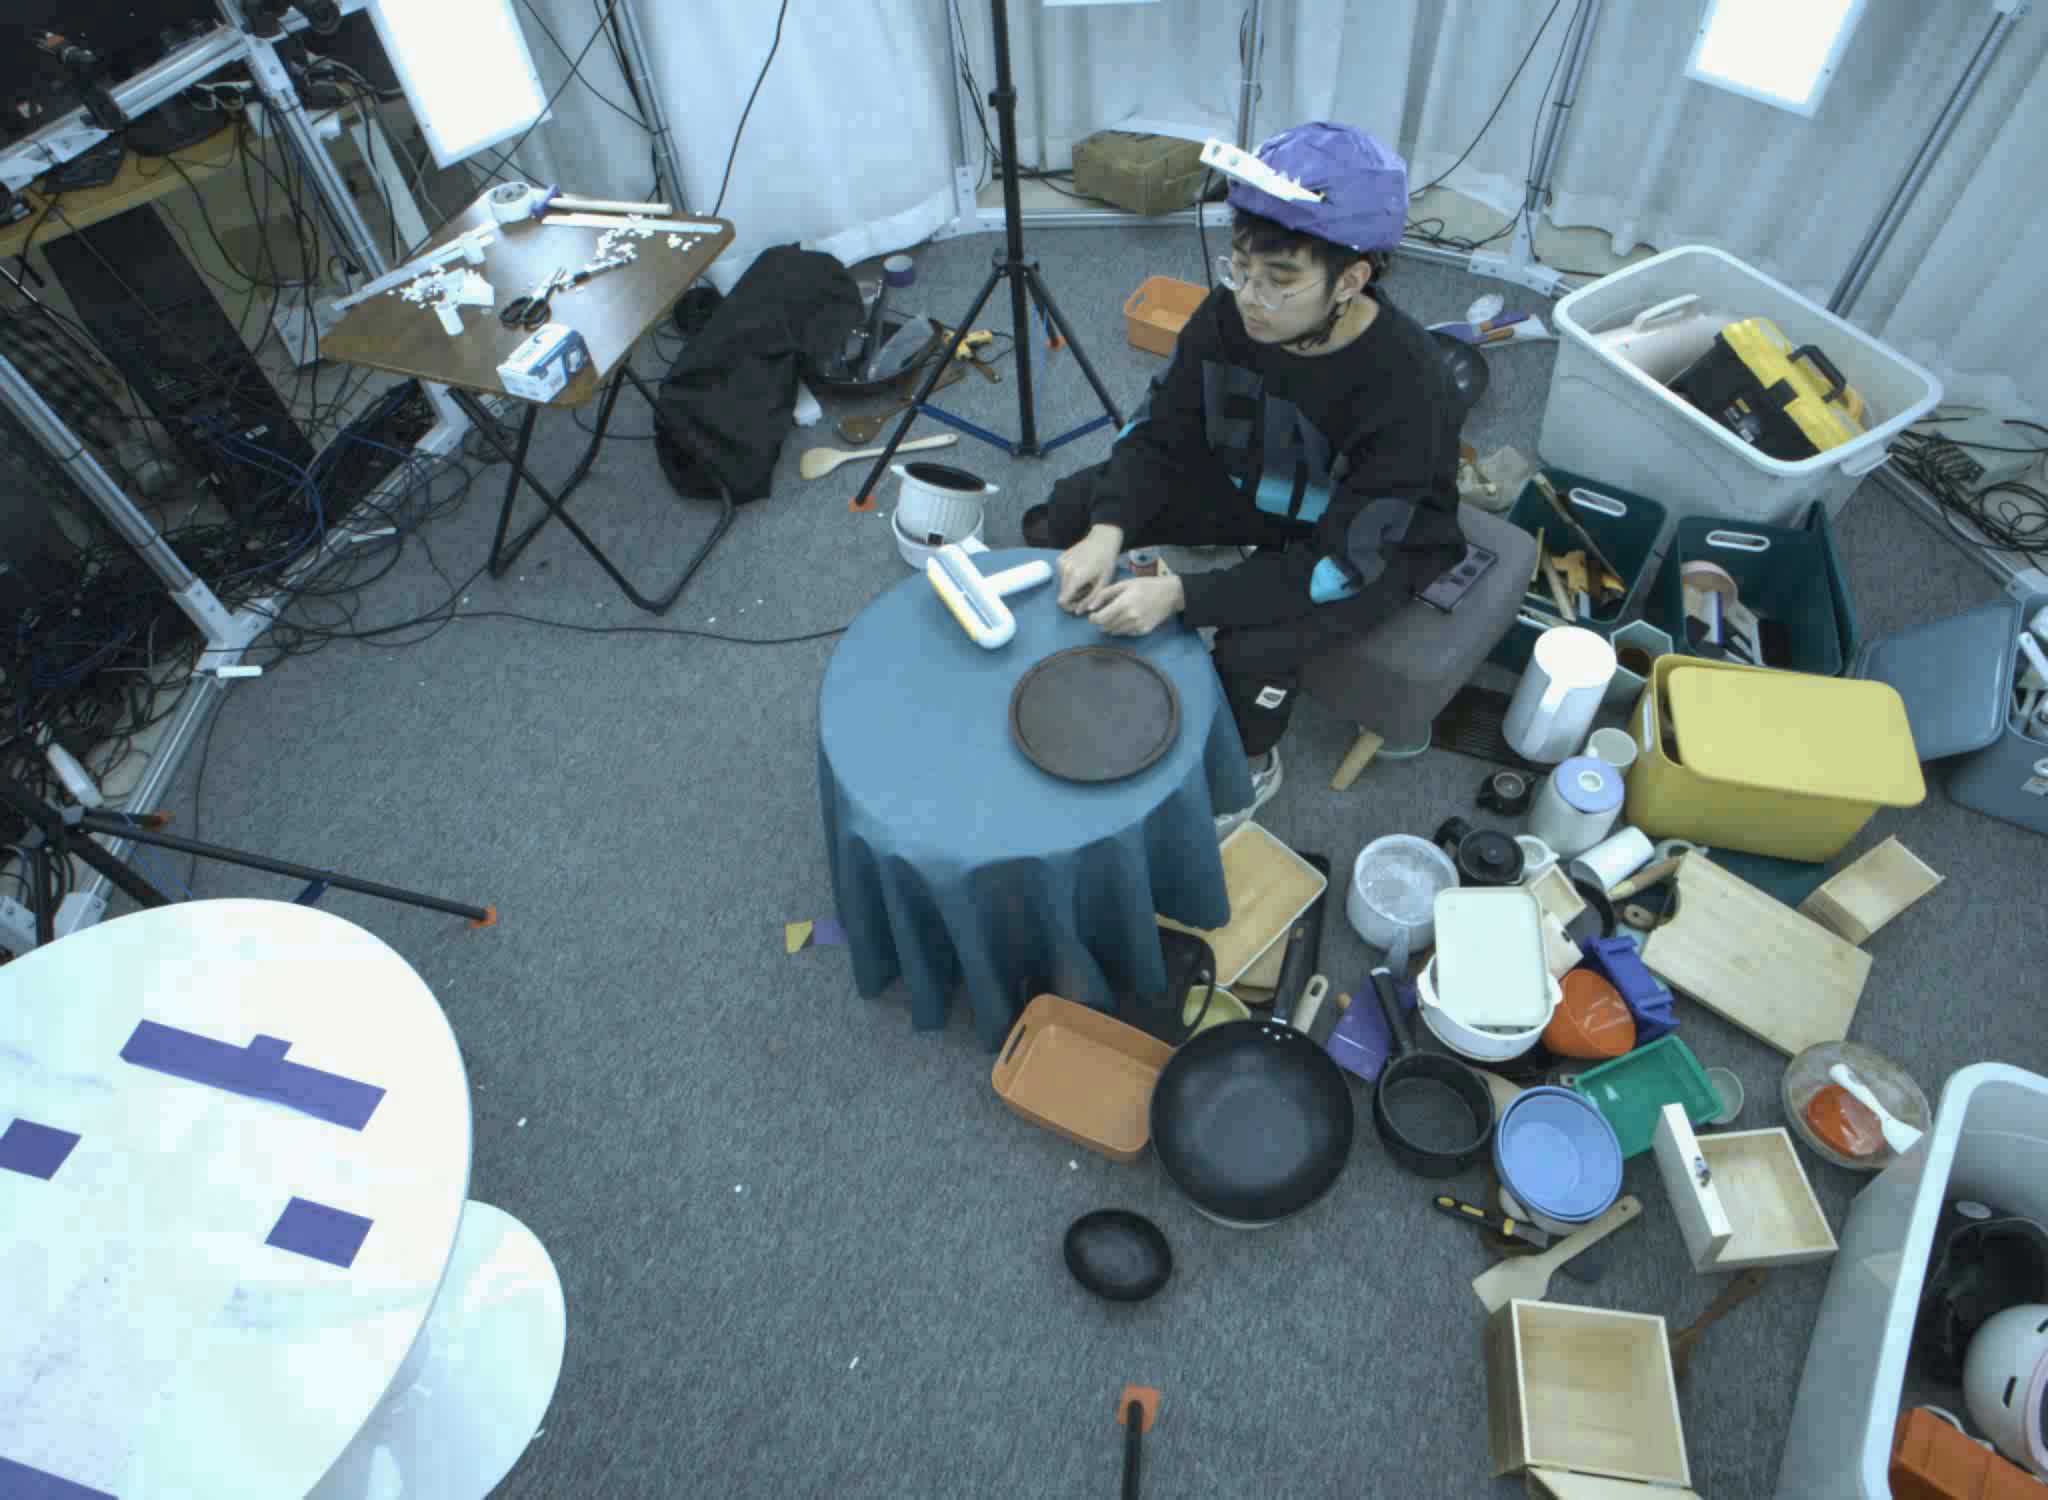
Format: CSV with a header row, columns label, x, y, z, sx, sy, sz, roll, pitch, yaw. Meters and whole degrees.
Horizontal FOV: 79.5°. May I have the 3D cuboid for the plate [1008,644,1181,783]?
label,x,y,z,sx,sy,sz,roll,pitch,yaw
plate,0.103,-0.054,1.804,0.254,0.029,0.252,0,53,2

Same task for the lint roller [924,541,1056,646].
label,x,y,z,sx,sy,sz,roll,pitch,yaw
lint roller,-0.037,-0.263,1.930,0.194,0.075,0.189,-25,63,-17
